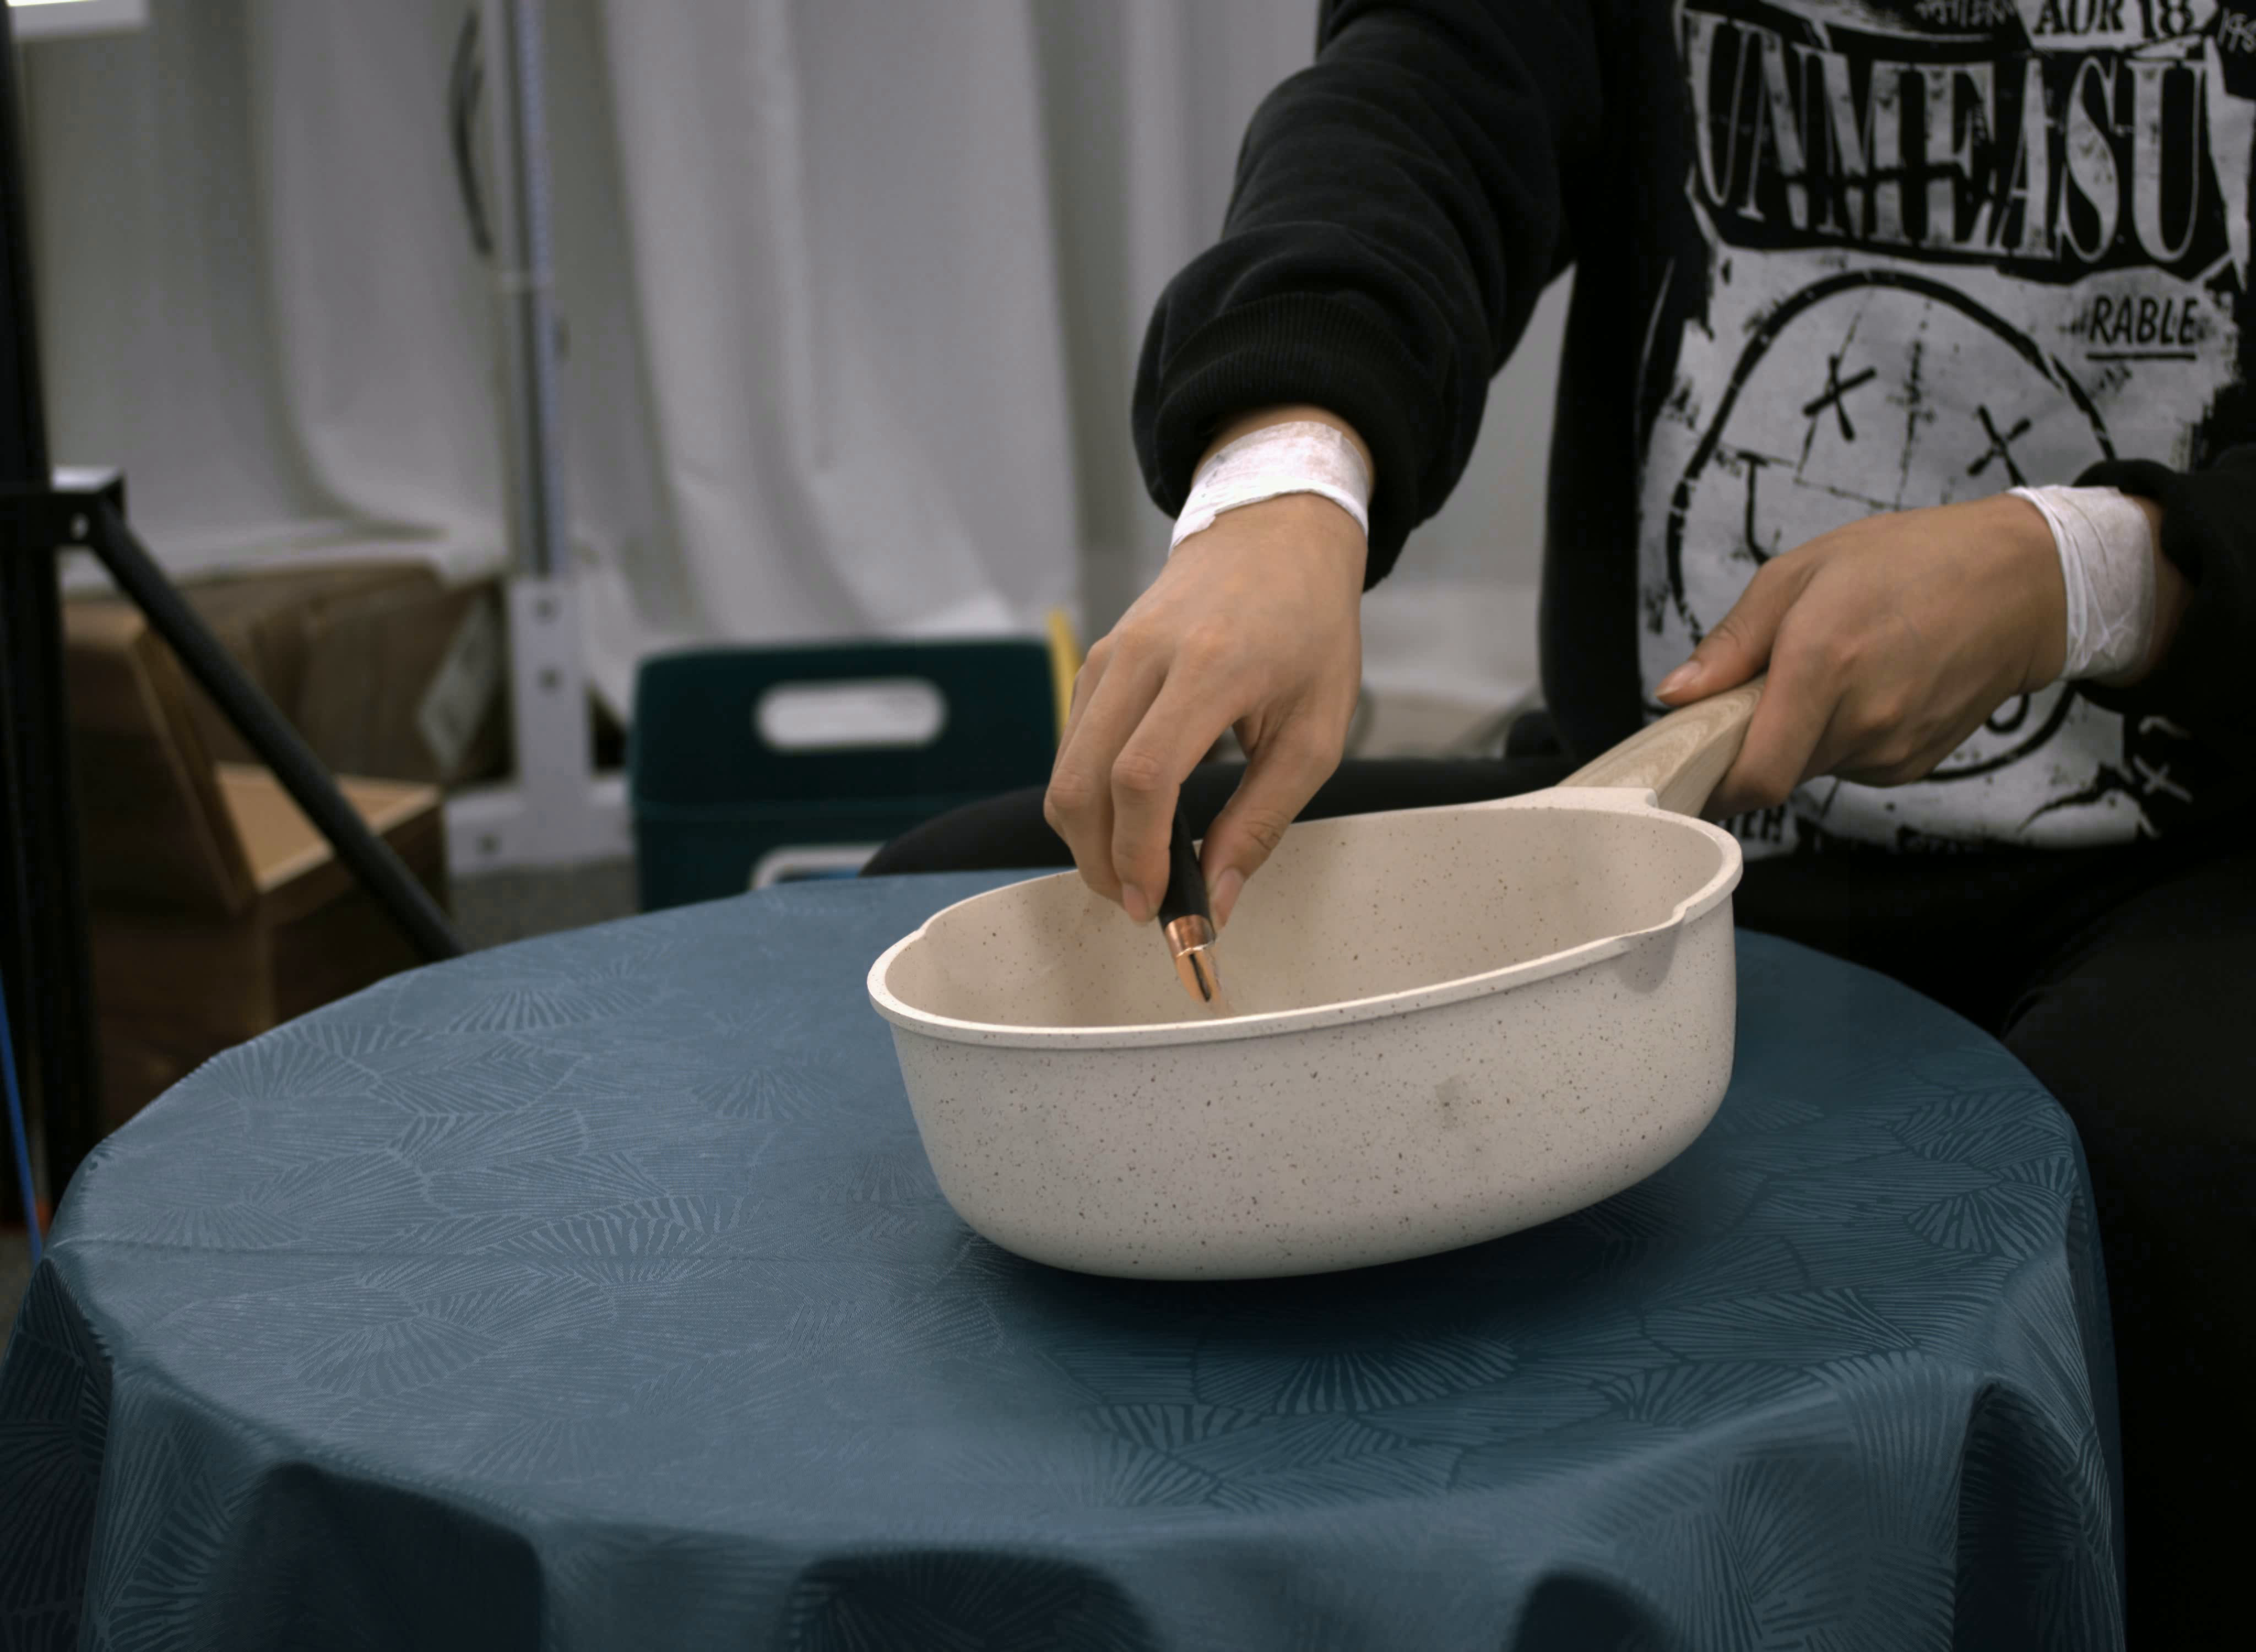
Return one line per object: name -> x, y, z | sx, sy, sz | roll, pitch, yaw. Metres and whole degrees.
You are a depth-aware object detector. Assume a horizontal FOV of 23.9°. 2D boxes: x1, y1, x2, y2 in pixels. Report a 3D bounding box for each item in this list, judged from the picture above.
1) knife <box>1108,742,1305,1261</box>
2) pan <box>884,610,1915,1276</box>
knife -> 0.023, 0.047, 1.527 | 0.017, 0.026, 0.229 | -14, 38, -4
pan -> 0.118, 0.033, 1.570 | 0.269, 0.102, 0.425 | -1, 14, 43
